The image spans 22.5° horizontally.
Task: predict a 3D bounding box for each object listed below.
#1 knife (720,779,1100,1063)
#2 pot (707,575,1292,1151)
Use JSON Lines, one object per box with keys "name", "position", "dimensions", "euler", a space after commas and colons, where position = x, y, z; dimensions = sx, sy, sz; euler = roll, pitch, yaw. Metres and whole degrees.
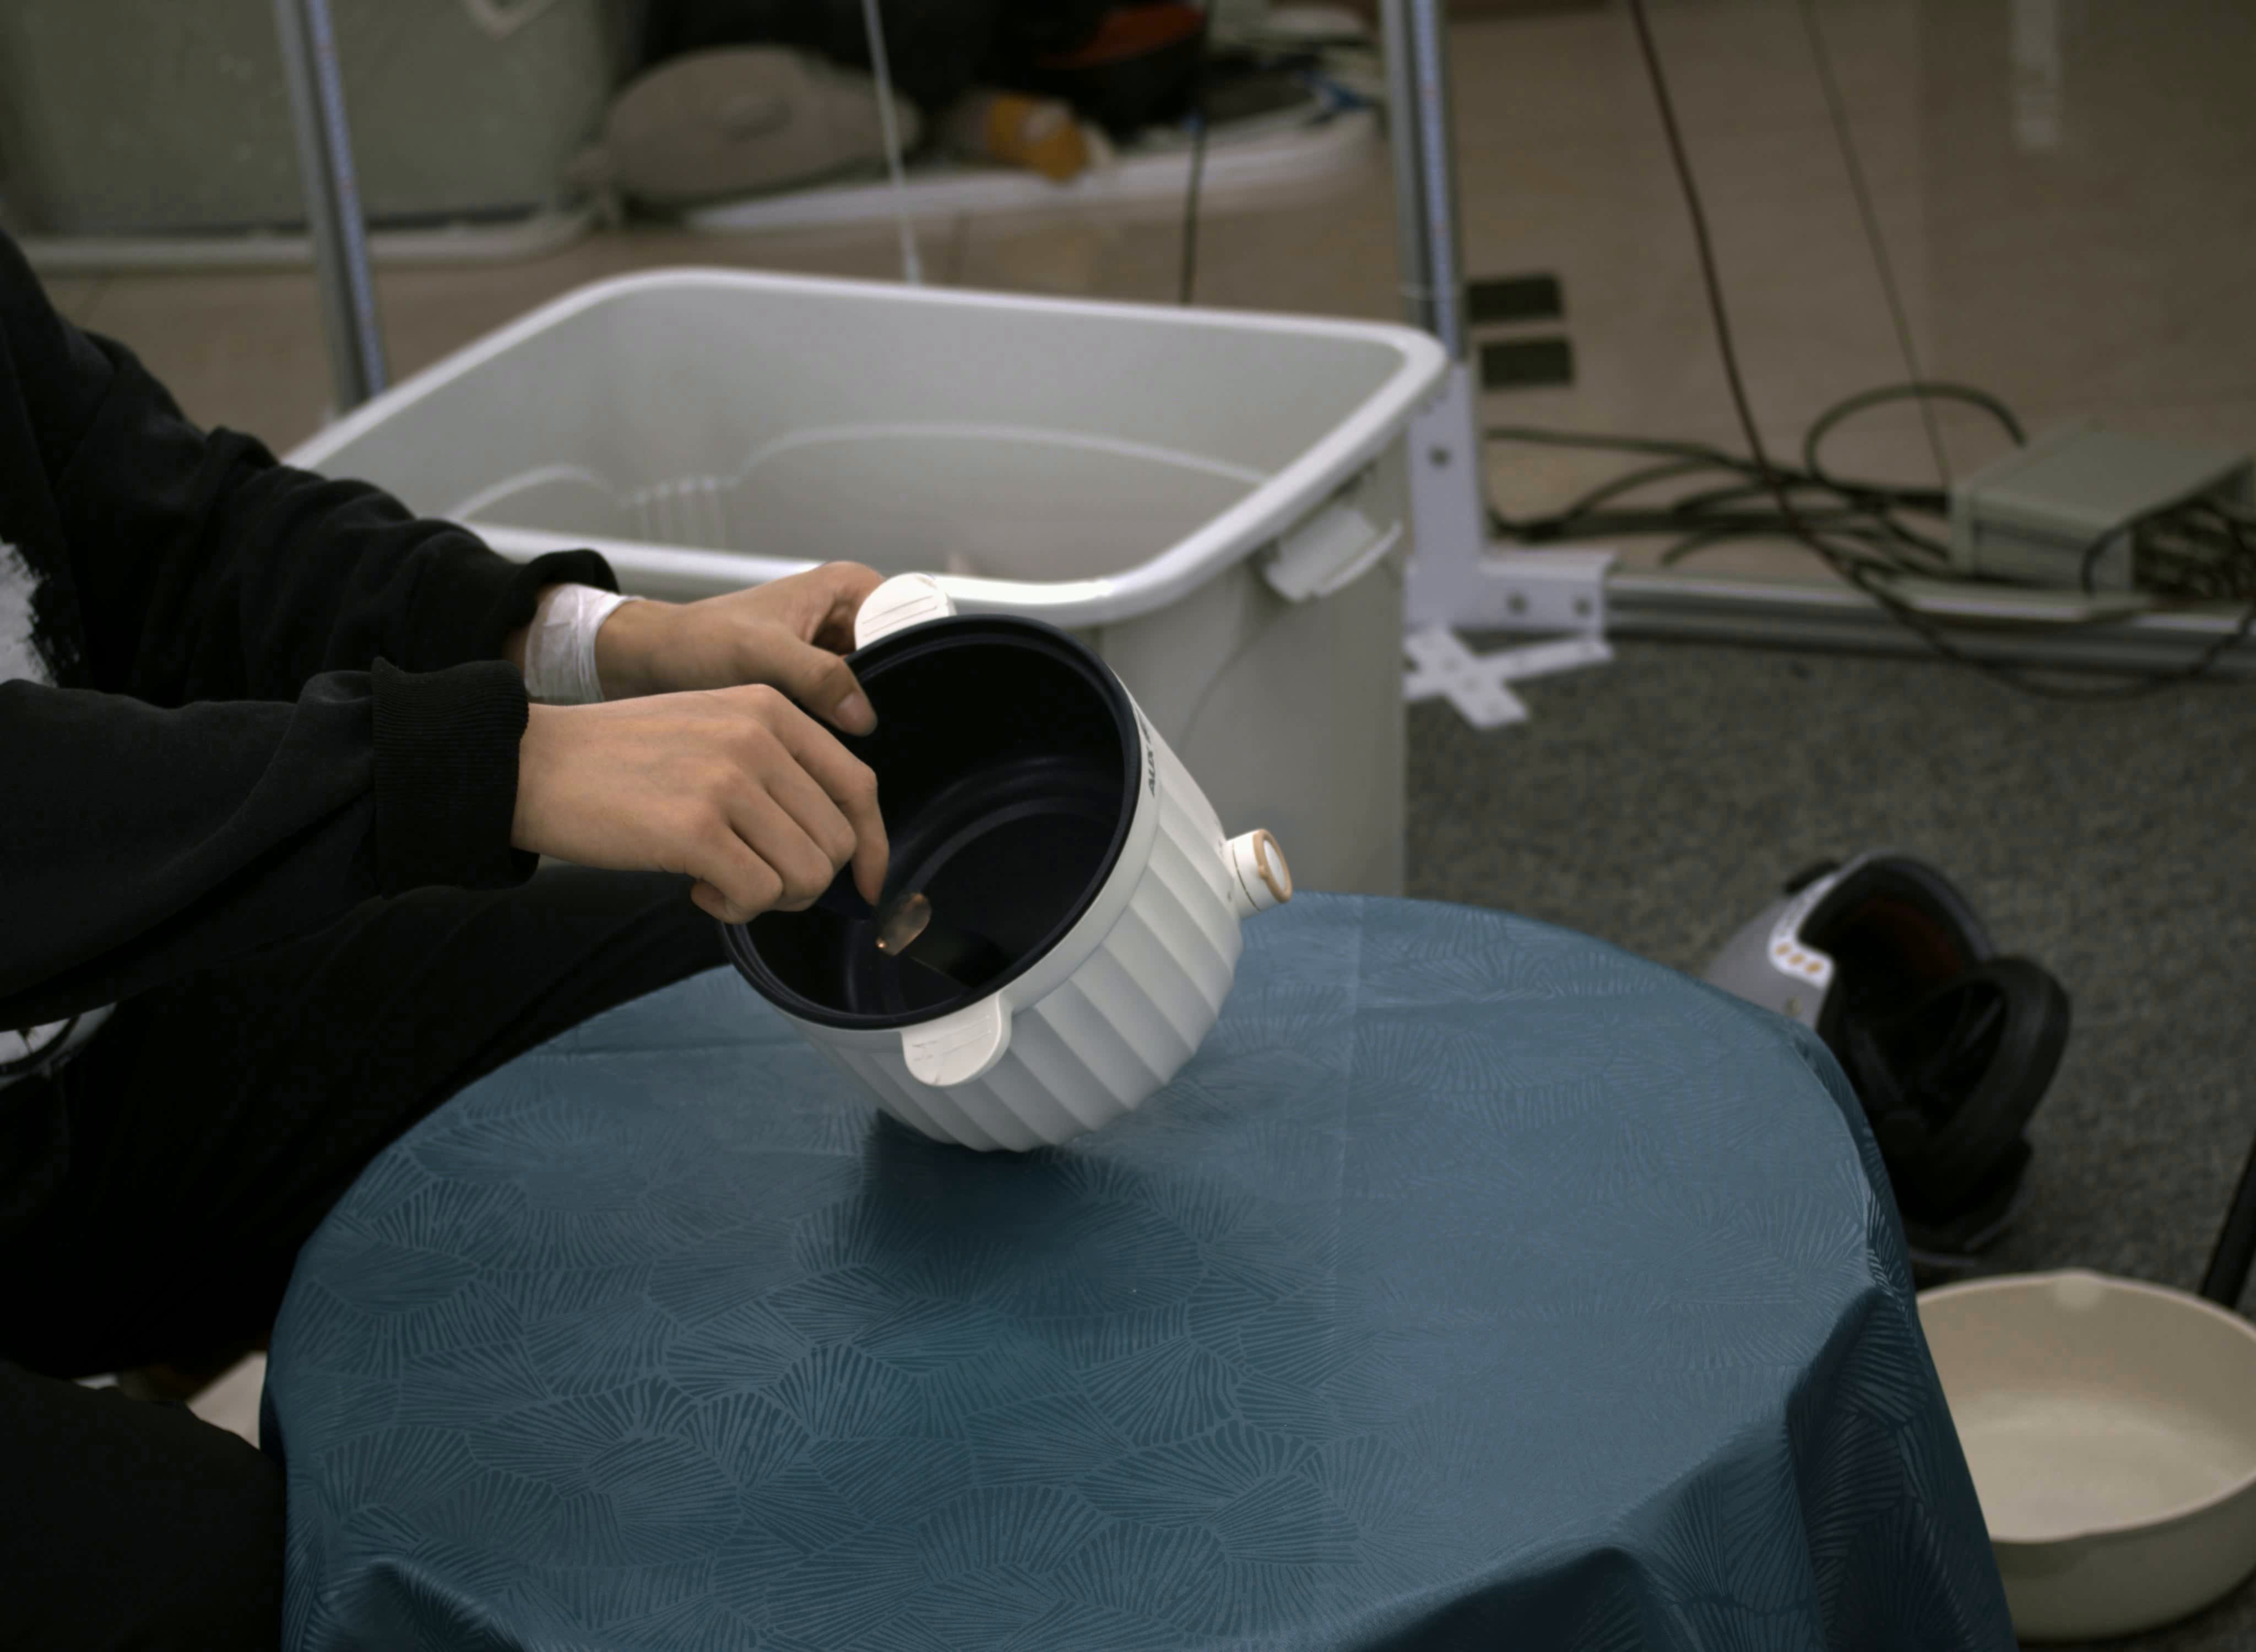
{"name": "knife", "position": [-0.074, 0.036, 2.047], "dimensions": [0.017, 0.228, 0.026], "euler": [18, 78, 43]}
{"name": "pot", "position": [-0.046, 0.026, 2.175], "dimensions": [0.191, 0.144, 0.236], "euler": [-23, 53, 18]}
